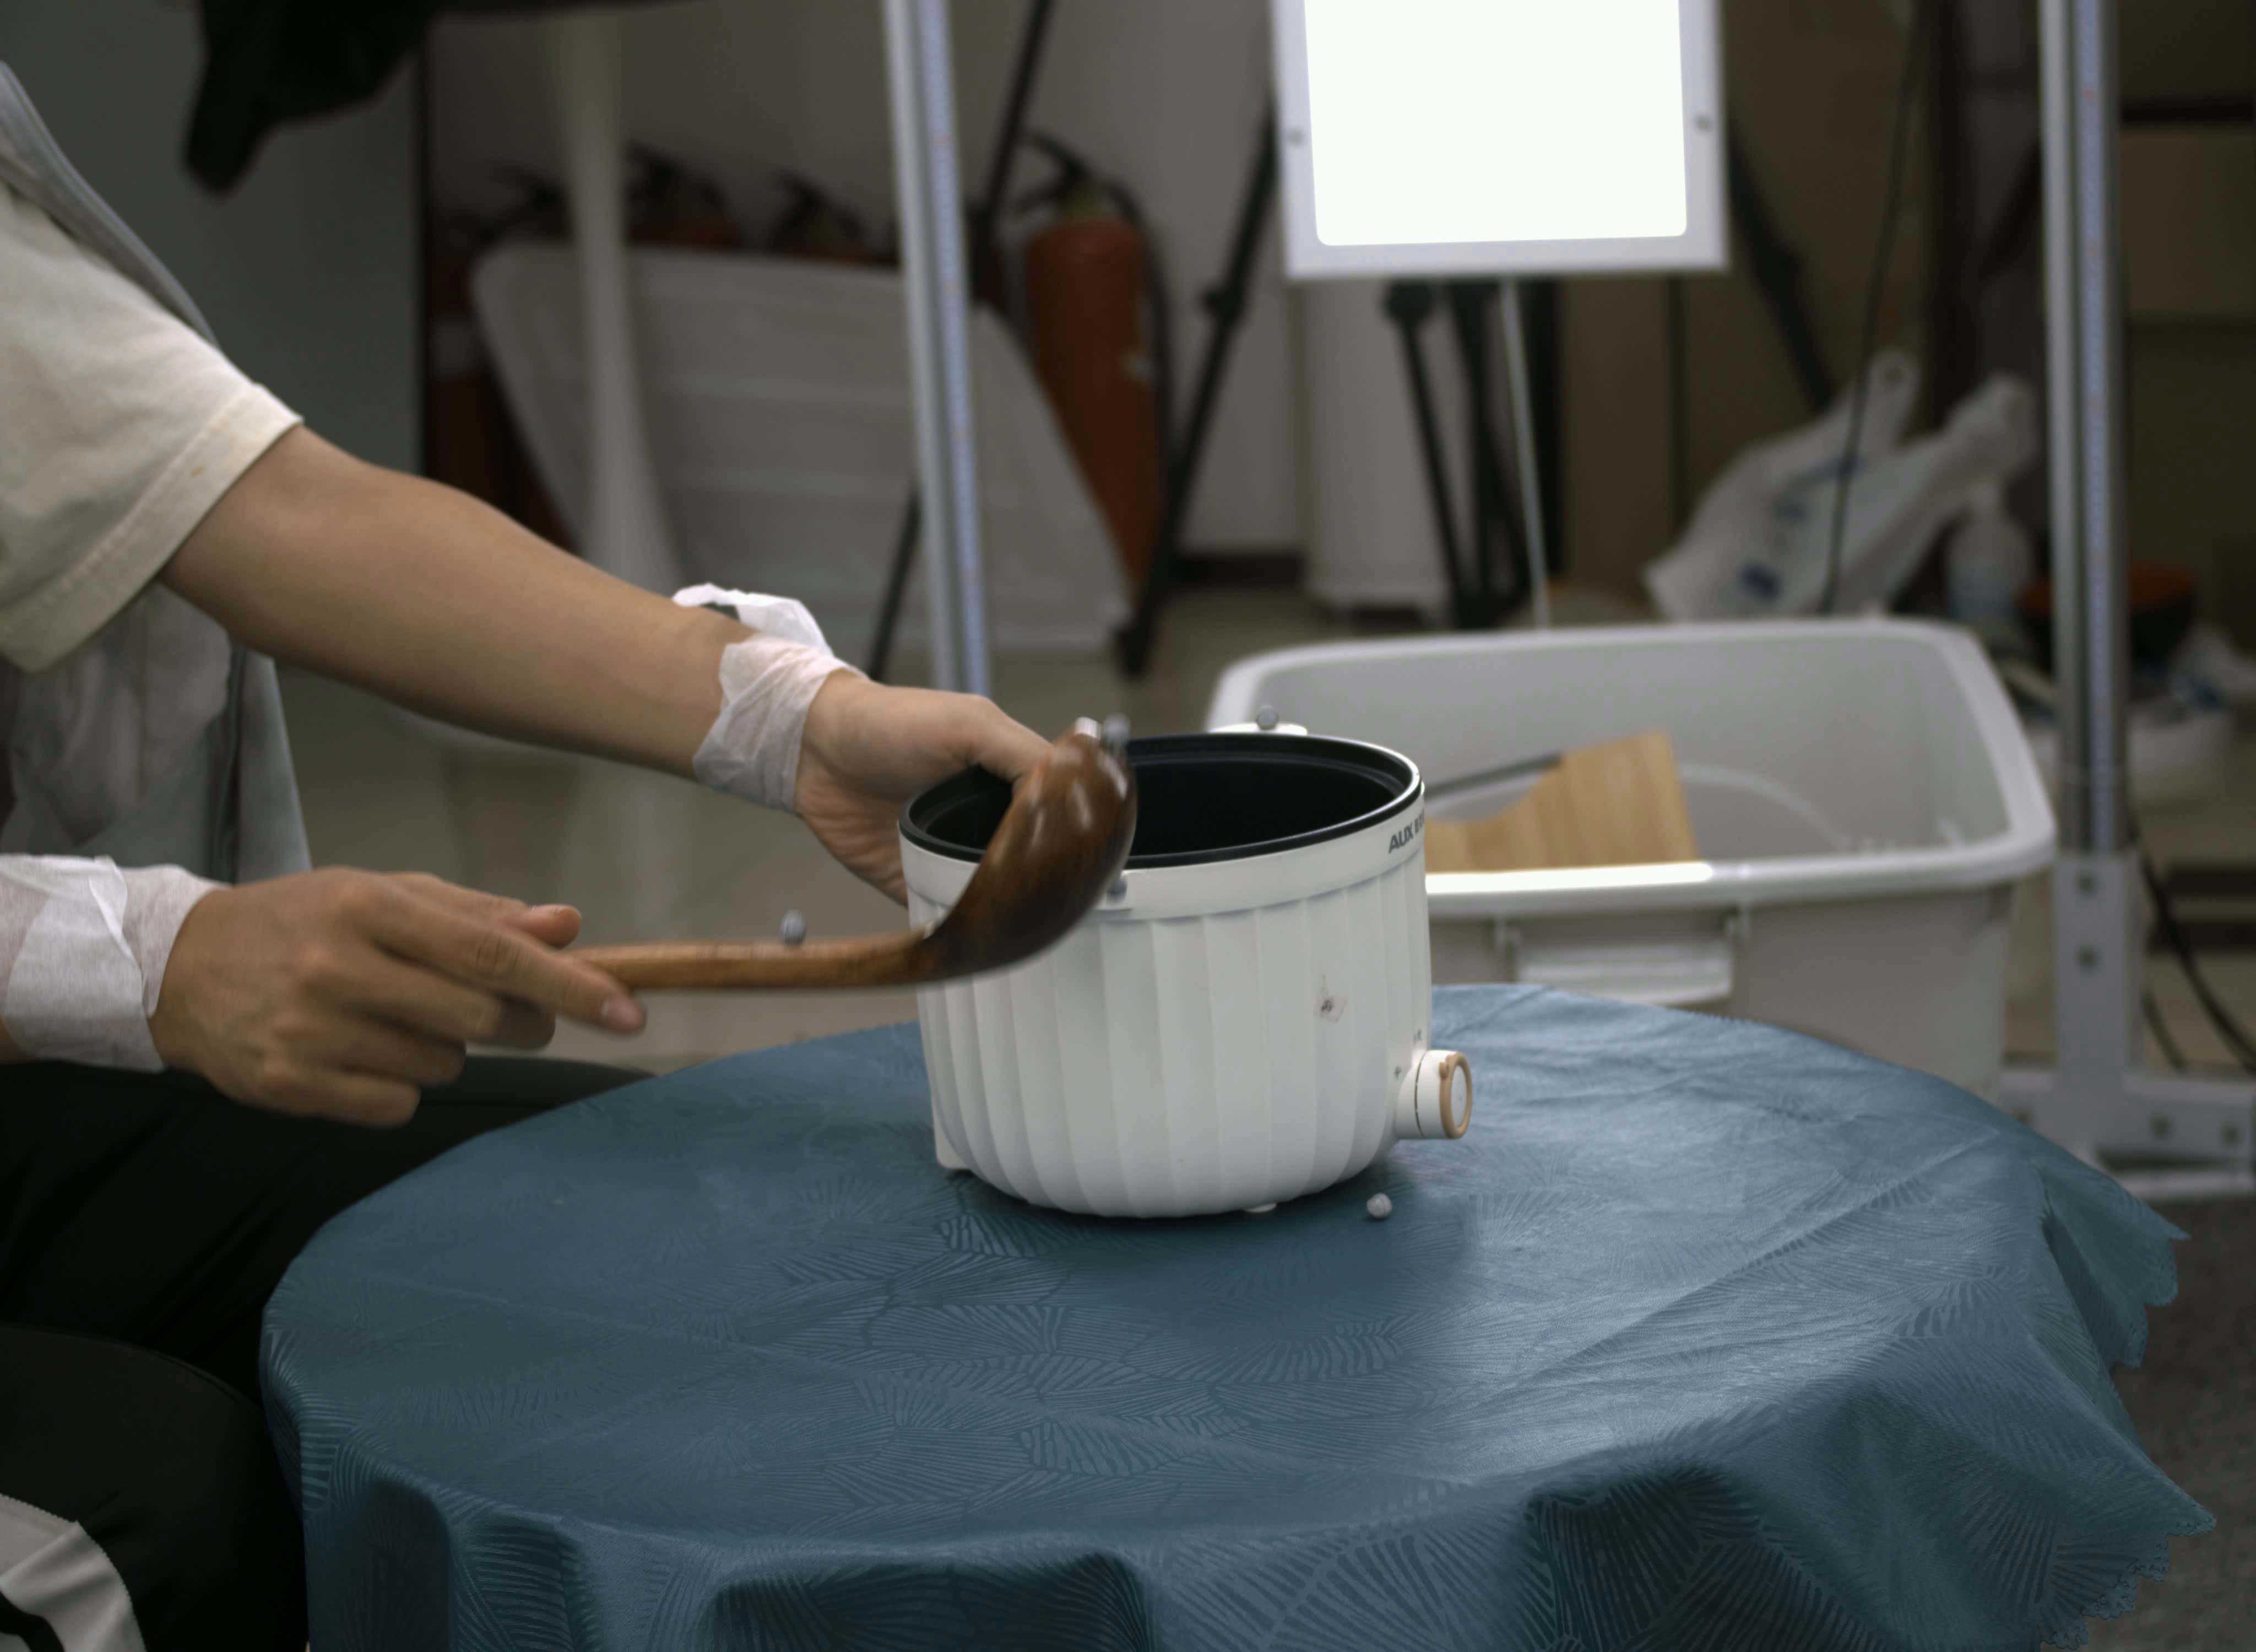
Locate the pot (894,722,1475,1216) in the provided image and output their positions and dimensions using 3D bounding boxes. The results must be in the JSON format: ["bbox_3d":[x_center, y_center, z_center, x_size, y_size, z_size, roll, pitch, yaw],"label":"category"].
[{"bbox_3d":[0.021,0.052,1.901,0.193,0.143,0.236,-3,15,22],"label":"pot"}]

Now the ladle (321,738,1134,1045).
[{"bbox_3d":[-0.128,0.021,1.674,0.278,0.077,0.080,-4,4,23],"label":"ladle"}]
